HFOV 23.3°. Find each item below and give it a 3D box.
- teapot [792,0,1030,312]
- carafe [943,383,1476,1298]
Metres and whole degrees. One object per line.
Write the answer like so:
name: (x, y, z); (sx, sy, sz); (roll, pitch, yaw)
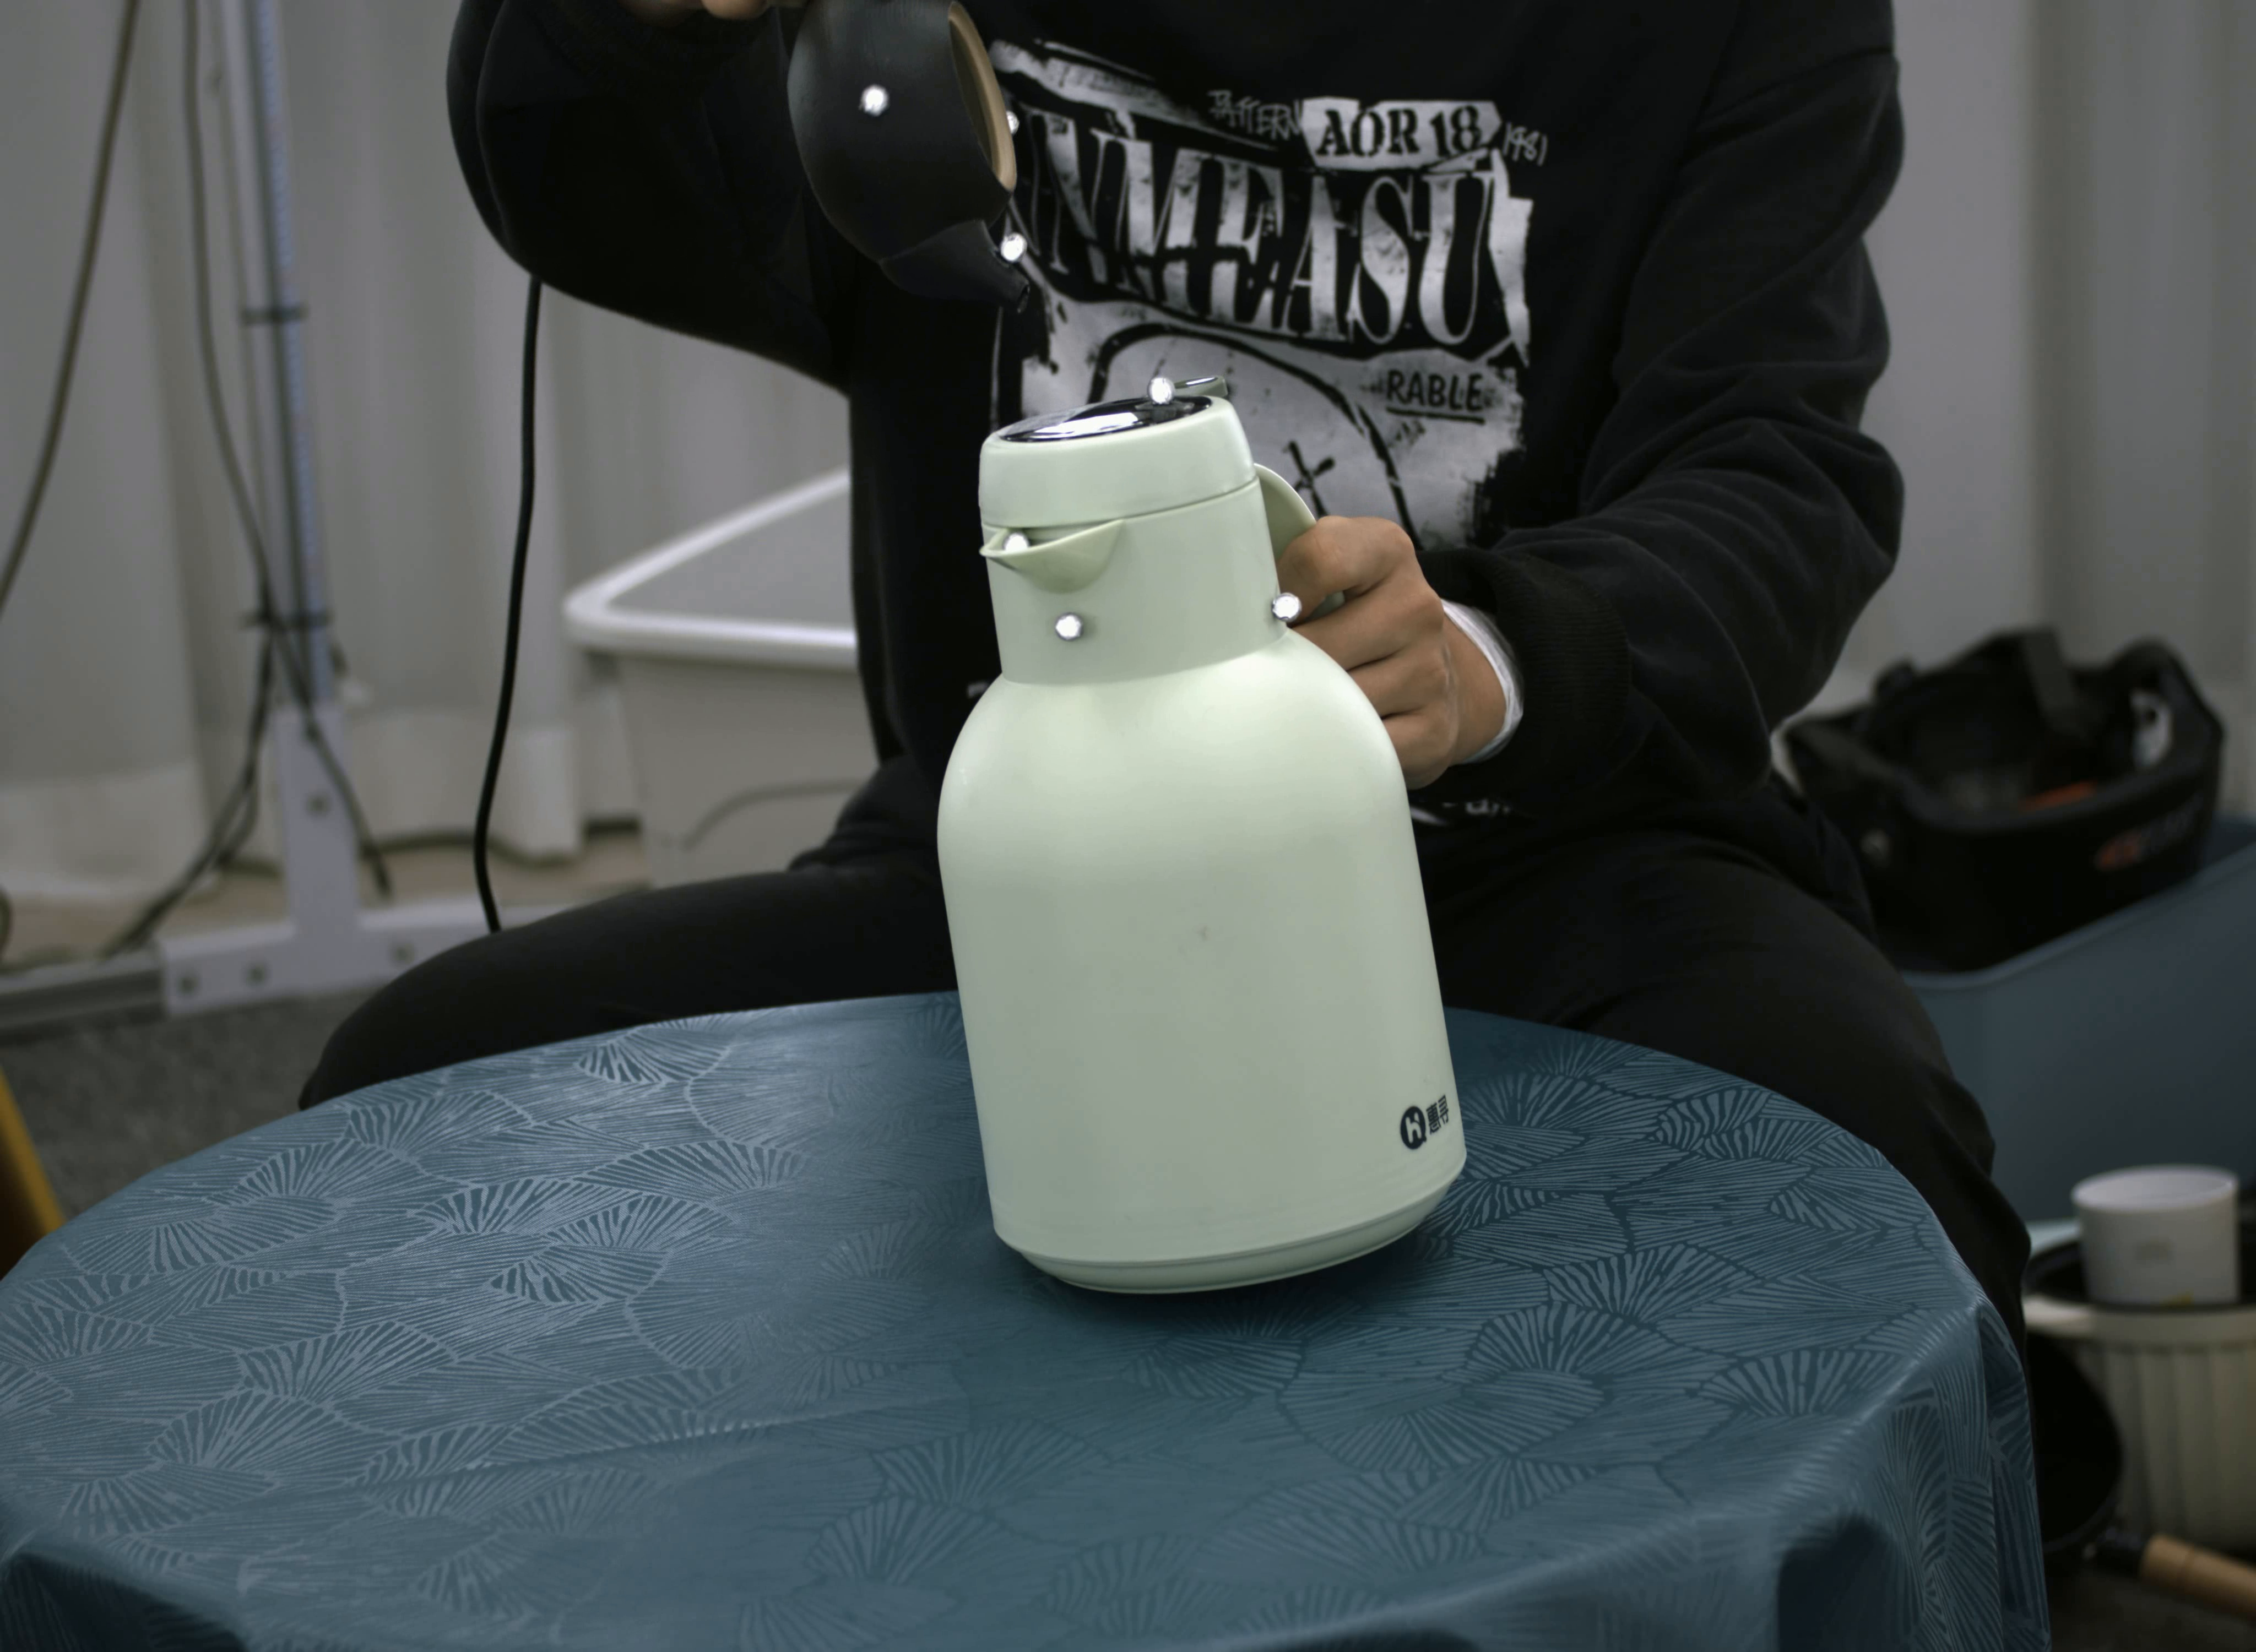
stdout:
teapot: (-0.067, -0.211, 1.635); (0.053, 0.134, 0.090); (-15, -9, 12)
carafe: (0.021, -0.001, 1.640); (0.144, 0.256, 0.187); (-5, 7, 28)
